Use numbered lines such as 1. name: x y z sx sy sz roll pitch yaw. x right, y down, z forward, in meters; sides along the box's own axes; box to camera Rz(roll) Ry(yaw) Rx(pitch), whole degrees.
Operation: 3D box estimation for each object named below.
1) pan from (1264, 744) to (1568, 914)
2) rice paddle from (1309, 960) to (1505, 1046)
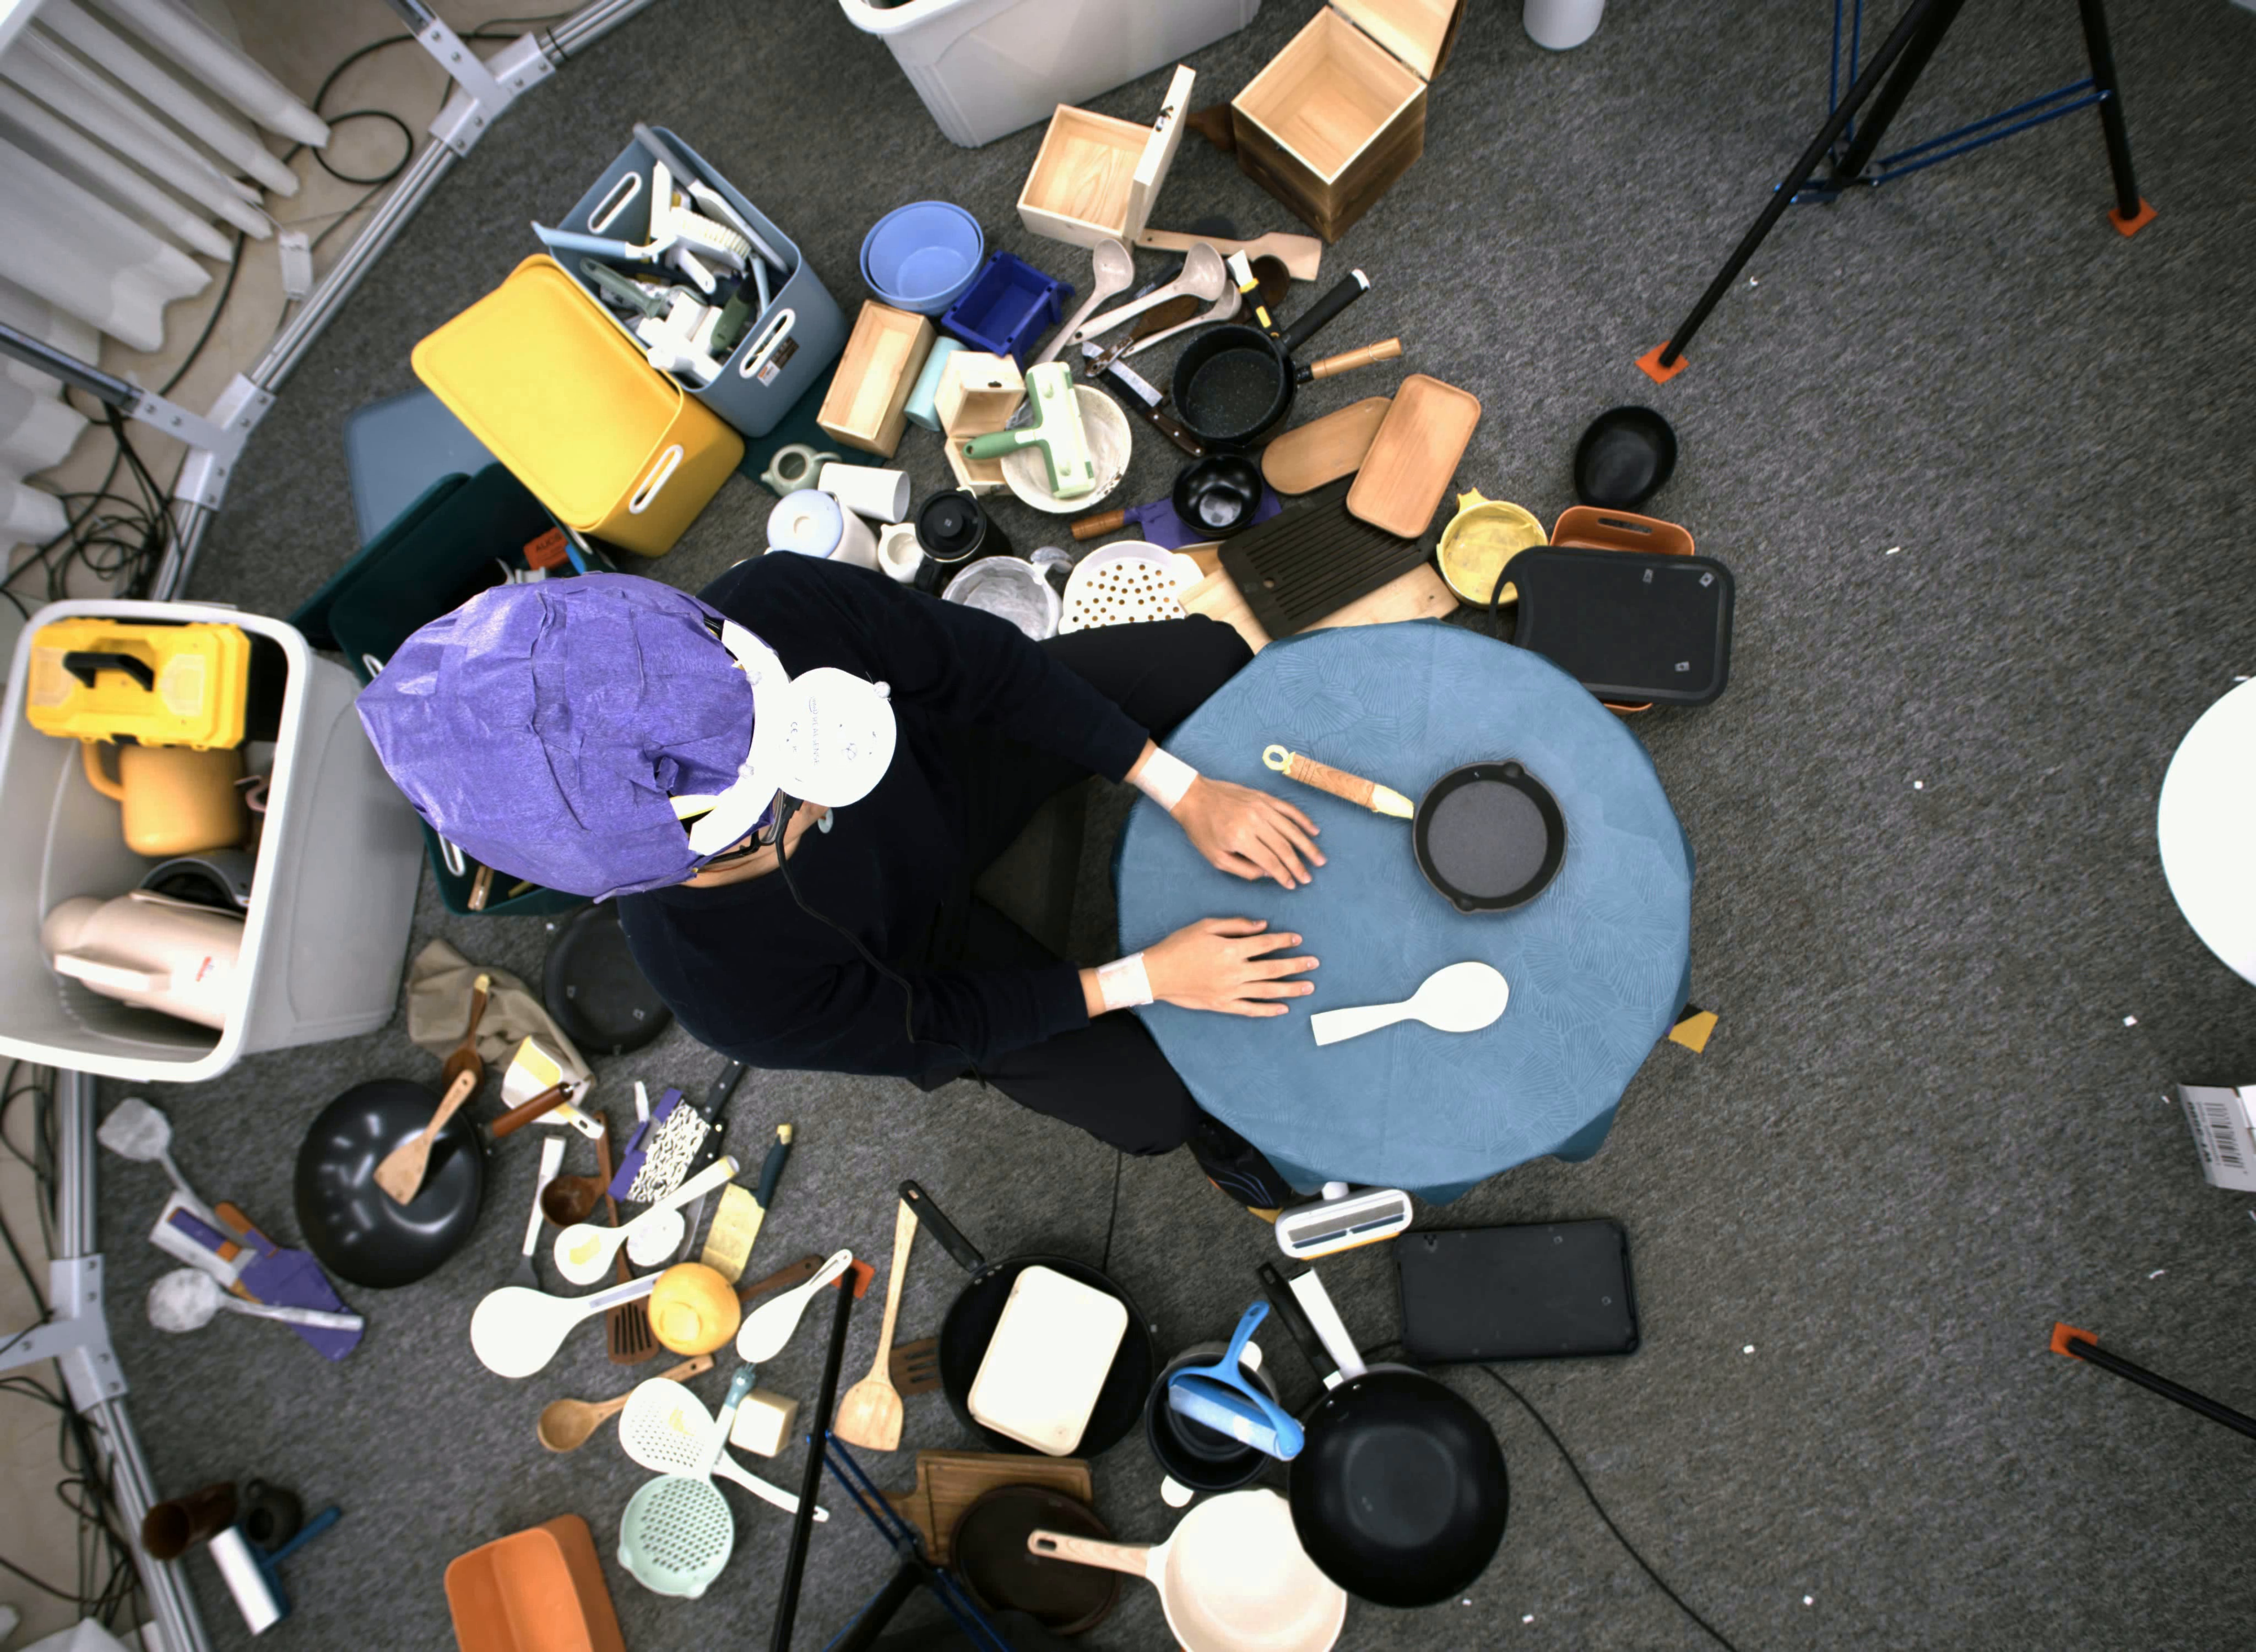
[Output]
1. pan: 0.295 -0.021 1.435 0.324 0.049 0.169 22 91 9
2. rice paddle: 0.291 0.187 1.435 0.206 0.029 0.068 -15 86 10
